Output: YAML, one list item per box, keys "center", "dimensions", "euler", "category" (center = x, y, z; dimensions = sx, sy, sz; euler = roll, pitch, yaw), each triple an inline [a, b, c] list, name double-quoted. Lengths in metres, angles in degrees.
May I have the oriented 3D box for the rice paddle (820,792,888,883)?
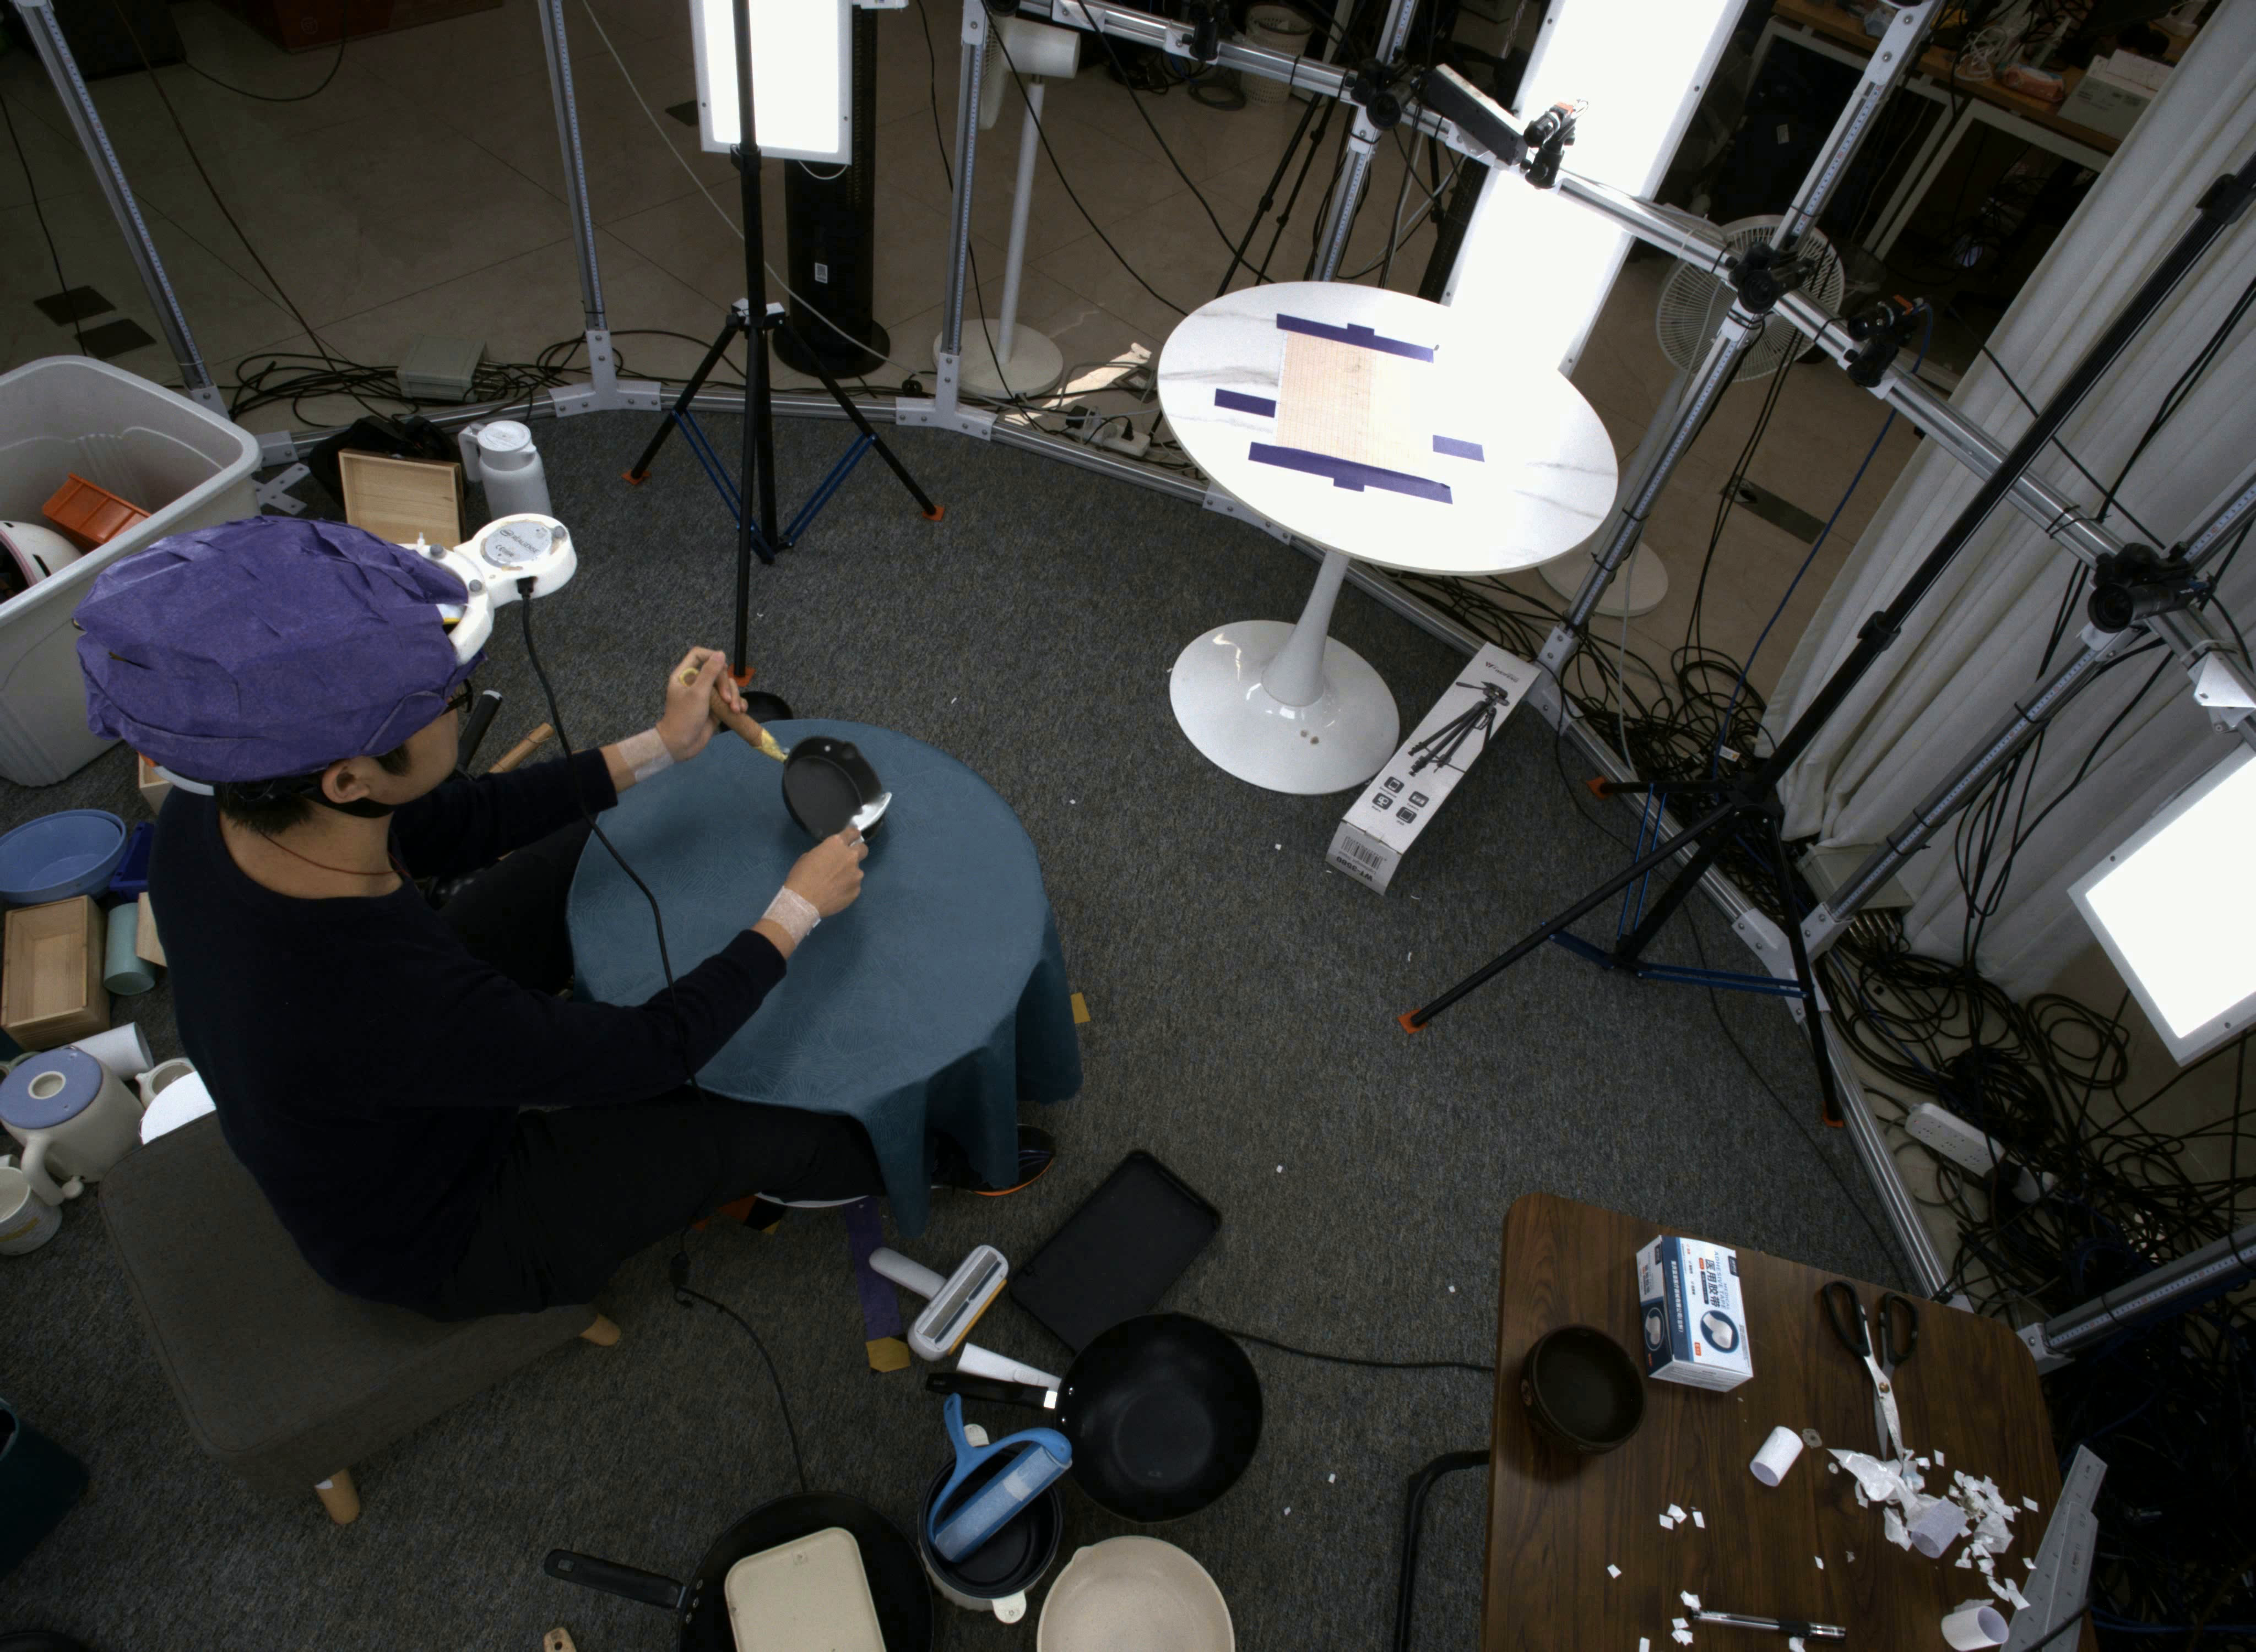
- center: [-0.350, 0.005, 1.653]
  dimensions: [0.030, 0.068, 0.201]
  euler: [57, 19, -23]
  category: "rice paddle"

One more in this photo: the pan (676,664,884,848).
- center: [-0.443, -0.092, 1.640]
  dimensions: [0.335, 0.049, 0.166]
  euler: [41, 40, -32]
  category: "pan"
